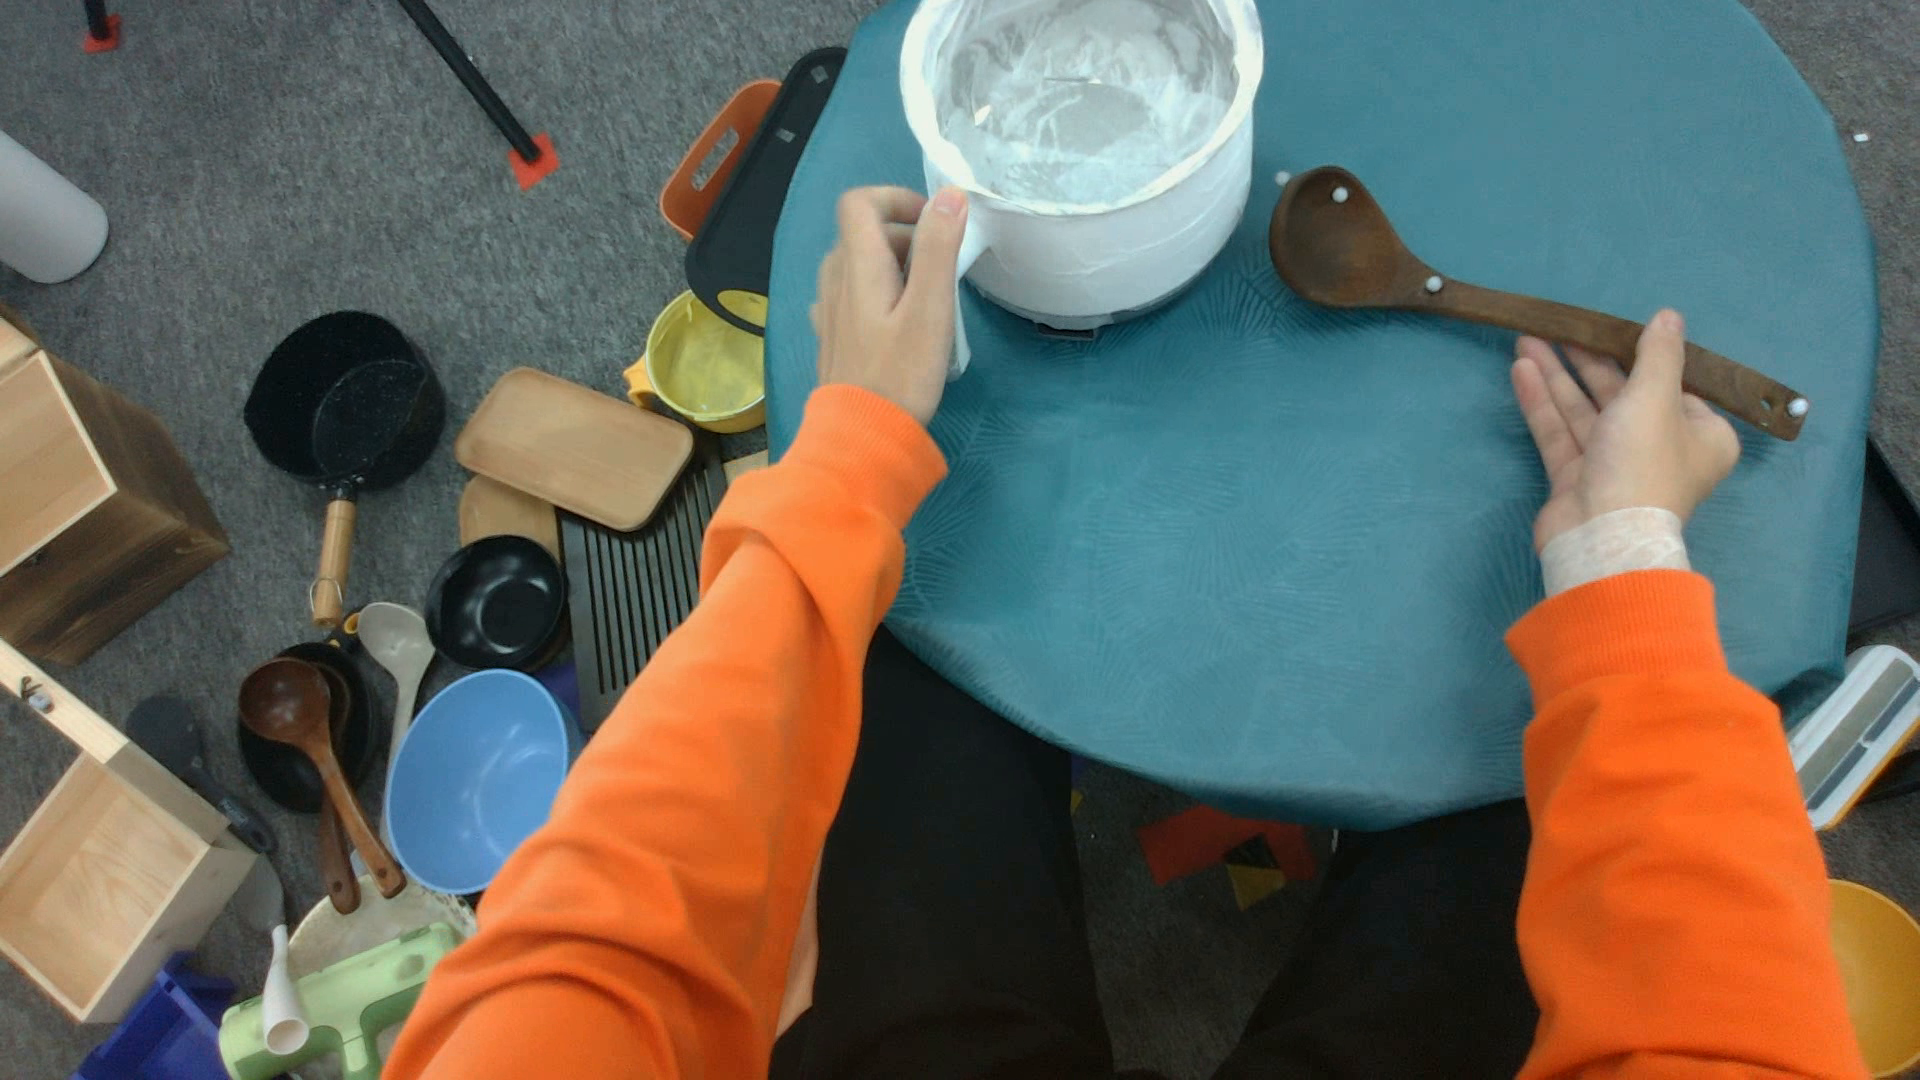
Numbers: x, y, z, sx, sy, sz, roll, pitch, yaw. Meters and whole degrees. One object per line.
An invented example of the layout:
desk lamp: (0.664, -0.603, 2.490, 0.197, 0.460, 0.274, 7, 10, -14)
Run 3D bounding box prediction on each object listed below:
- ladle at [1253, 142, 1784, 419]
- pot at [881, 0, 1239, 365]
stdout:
ladle: (0.281, -0.131, 0.699, 0.274, 0.071, 0.076, 24, 76, 20)
pot: (0.039, -0.201, 0.727, 0.179, 0.136, 0.234, 34, 79, 18)
